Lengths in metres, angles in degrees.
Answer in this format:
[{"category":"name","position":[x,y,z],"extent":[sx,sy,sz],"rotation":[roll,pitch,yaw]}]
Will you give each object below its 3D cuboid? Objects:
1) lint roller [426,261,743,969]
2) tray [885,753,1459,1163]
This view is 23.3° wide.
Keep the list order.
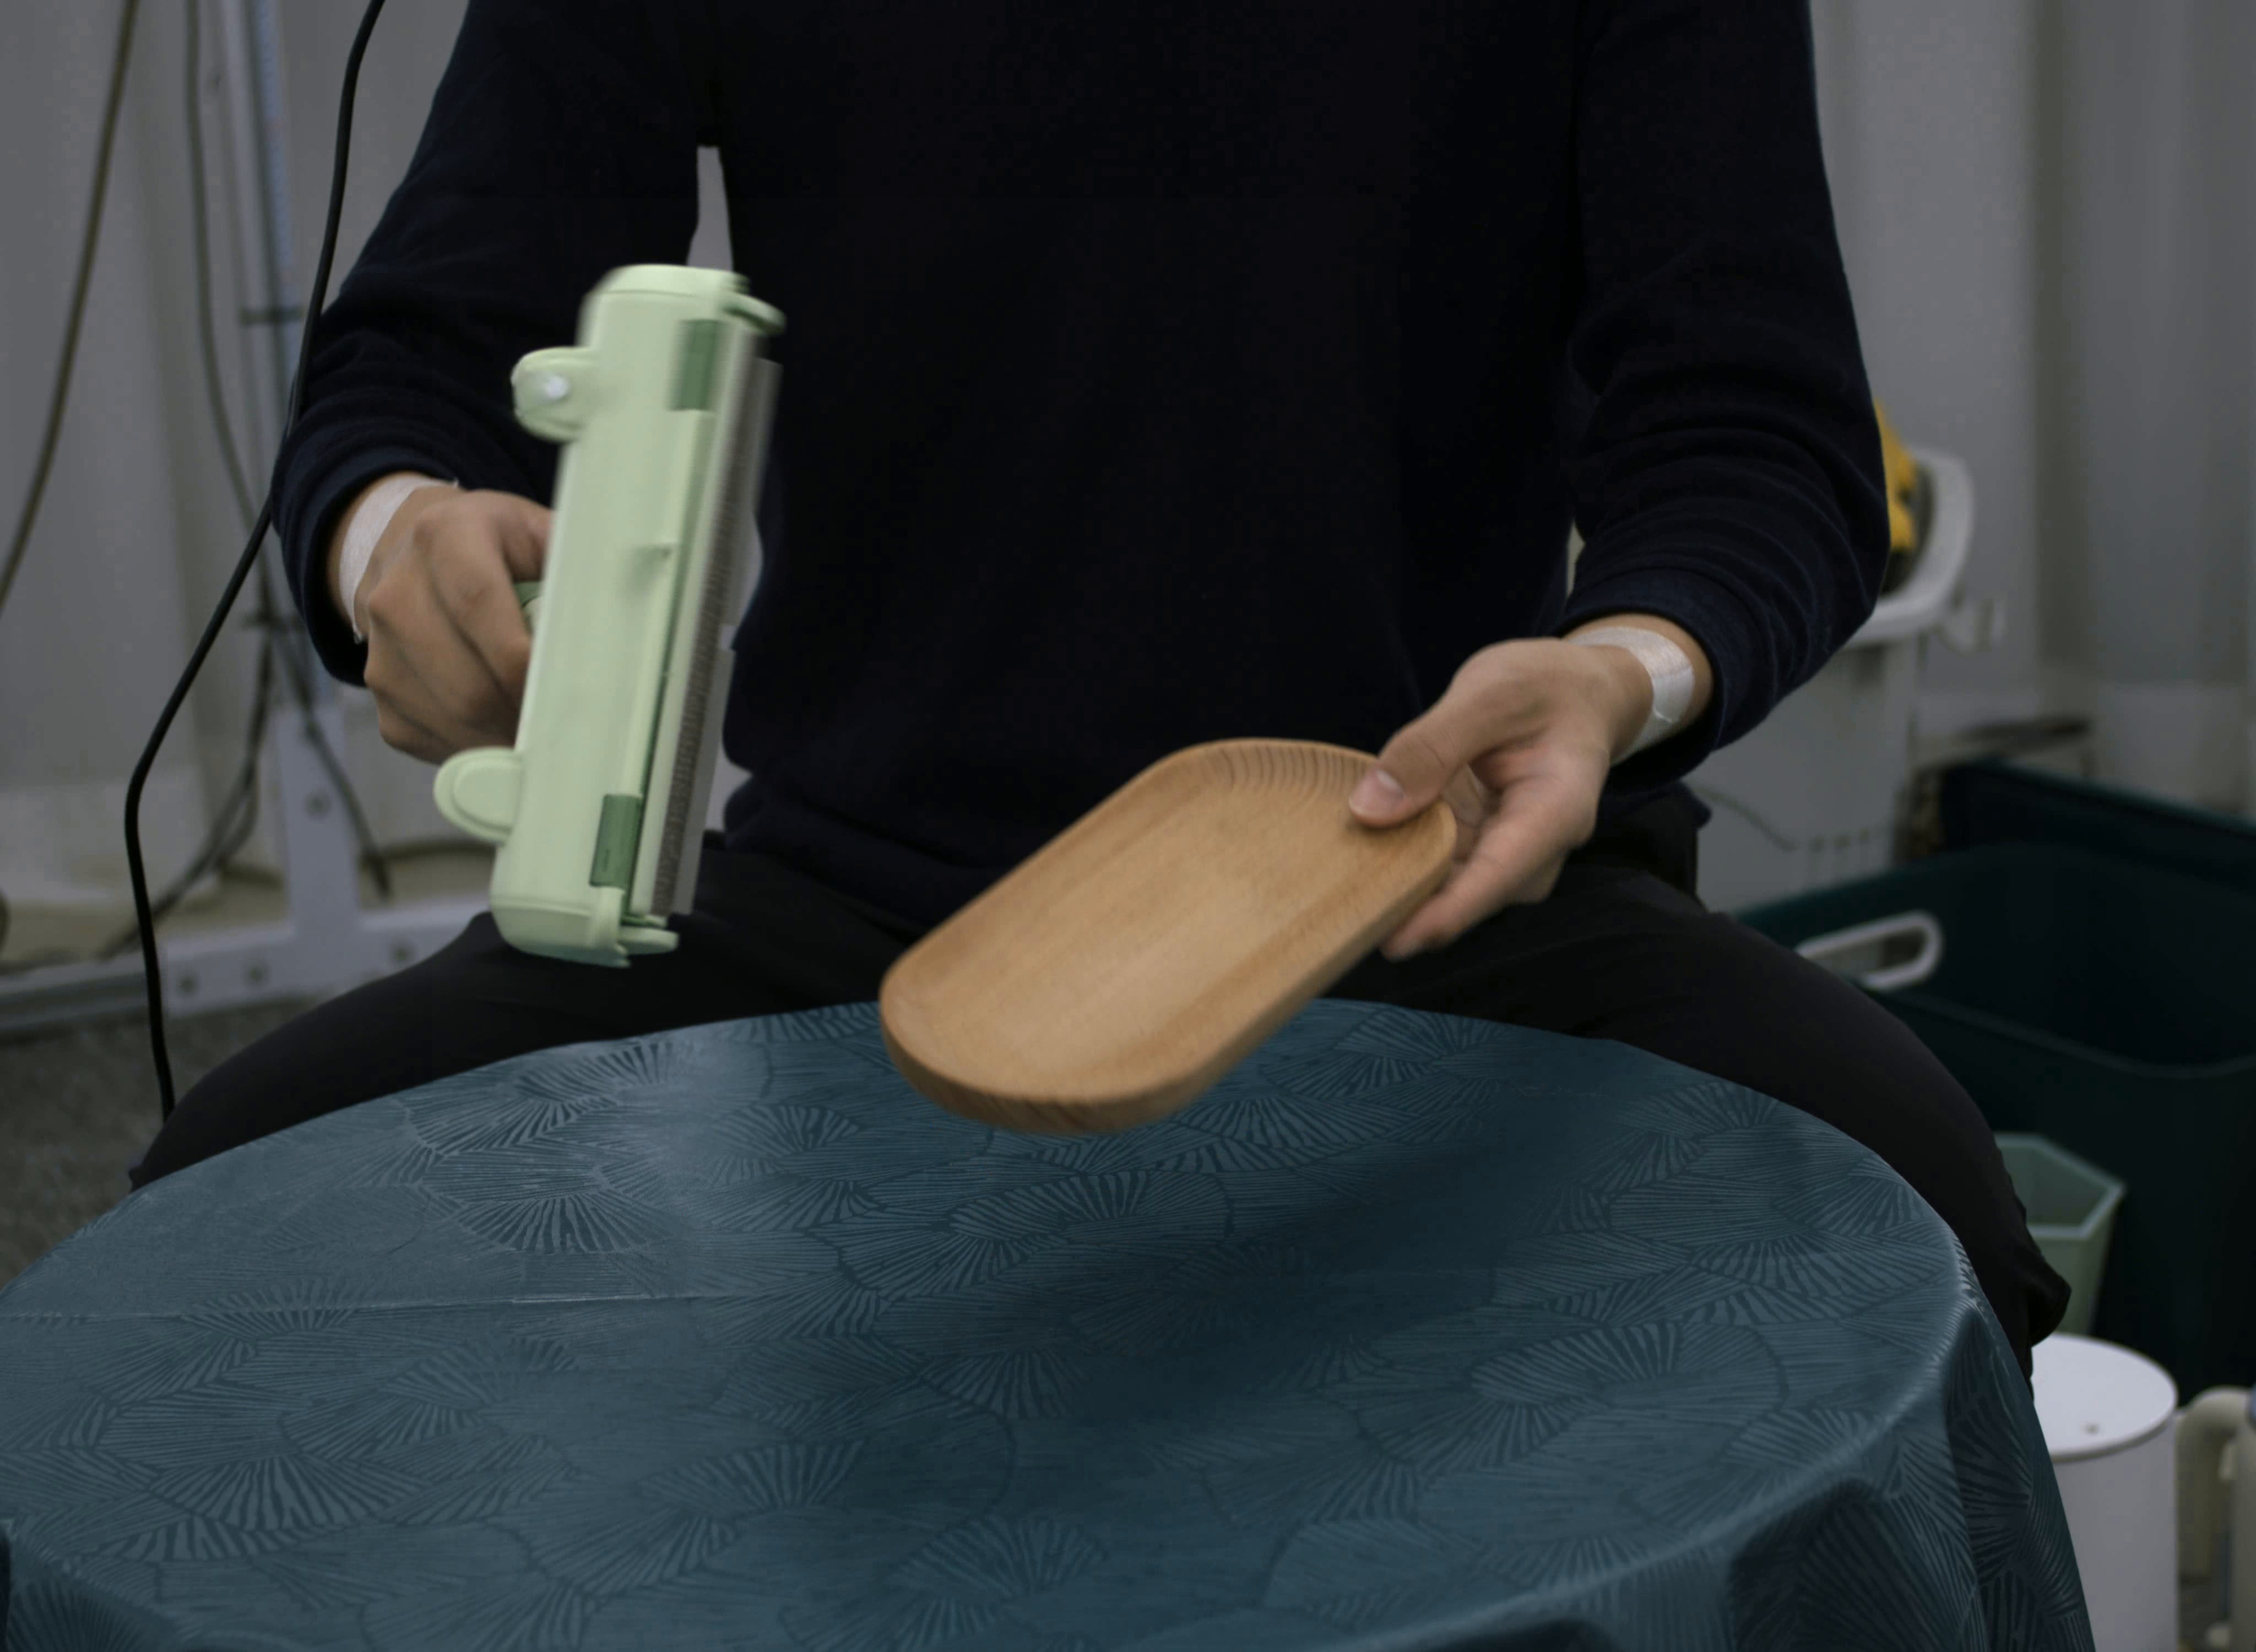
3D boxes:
[{"category":"lint roller","position":[-0.181,-0.058,1.590],"extent":[0.081,0.200,0.183],"rotation":[11,-9,-34]},{"category":"tray","position":[0.015,0.036,1.578],"extent":[0.102,0.020,0.232],"rotation":[17,34,25]}]
